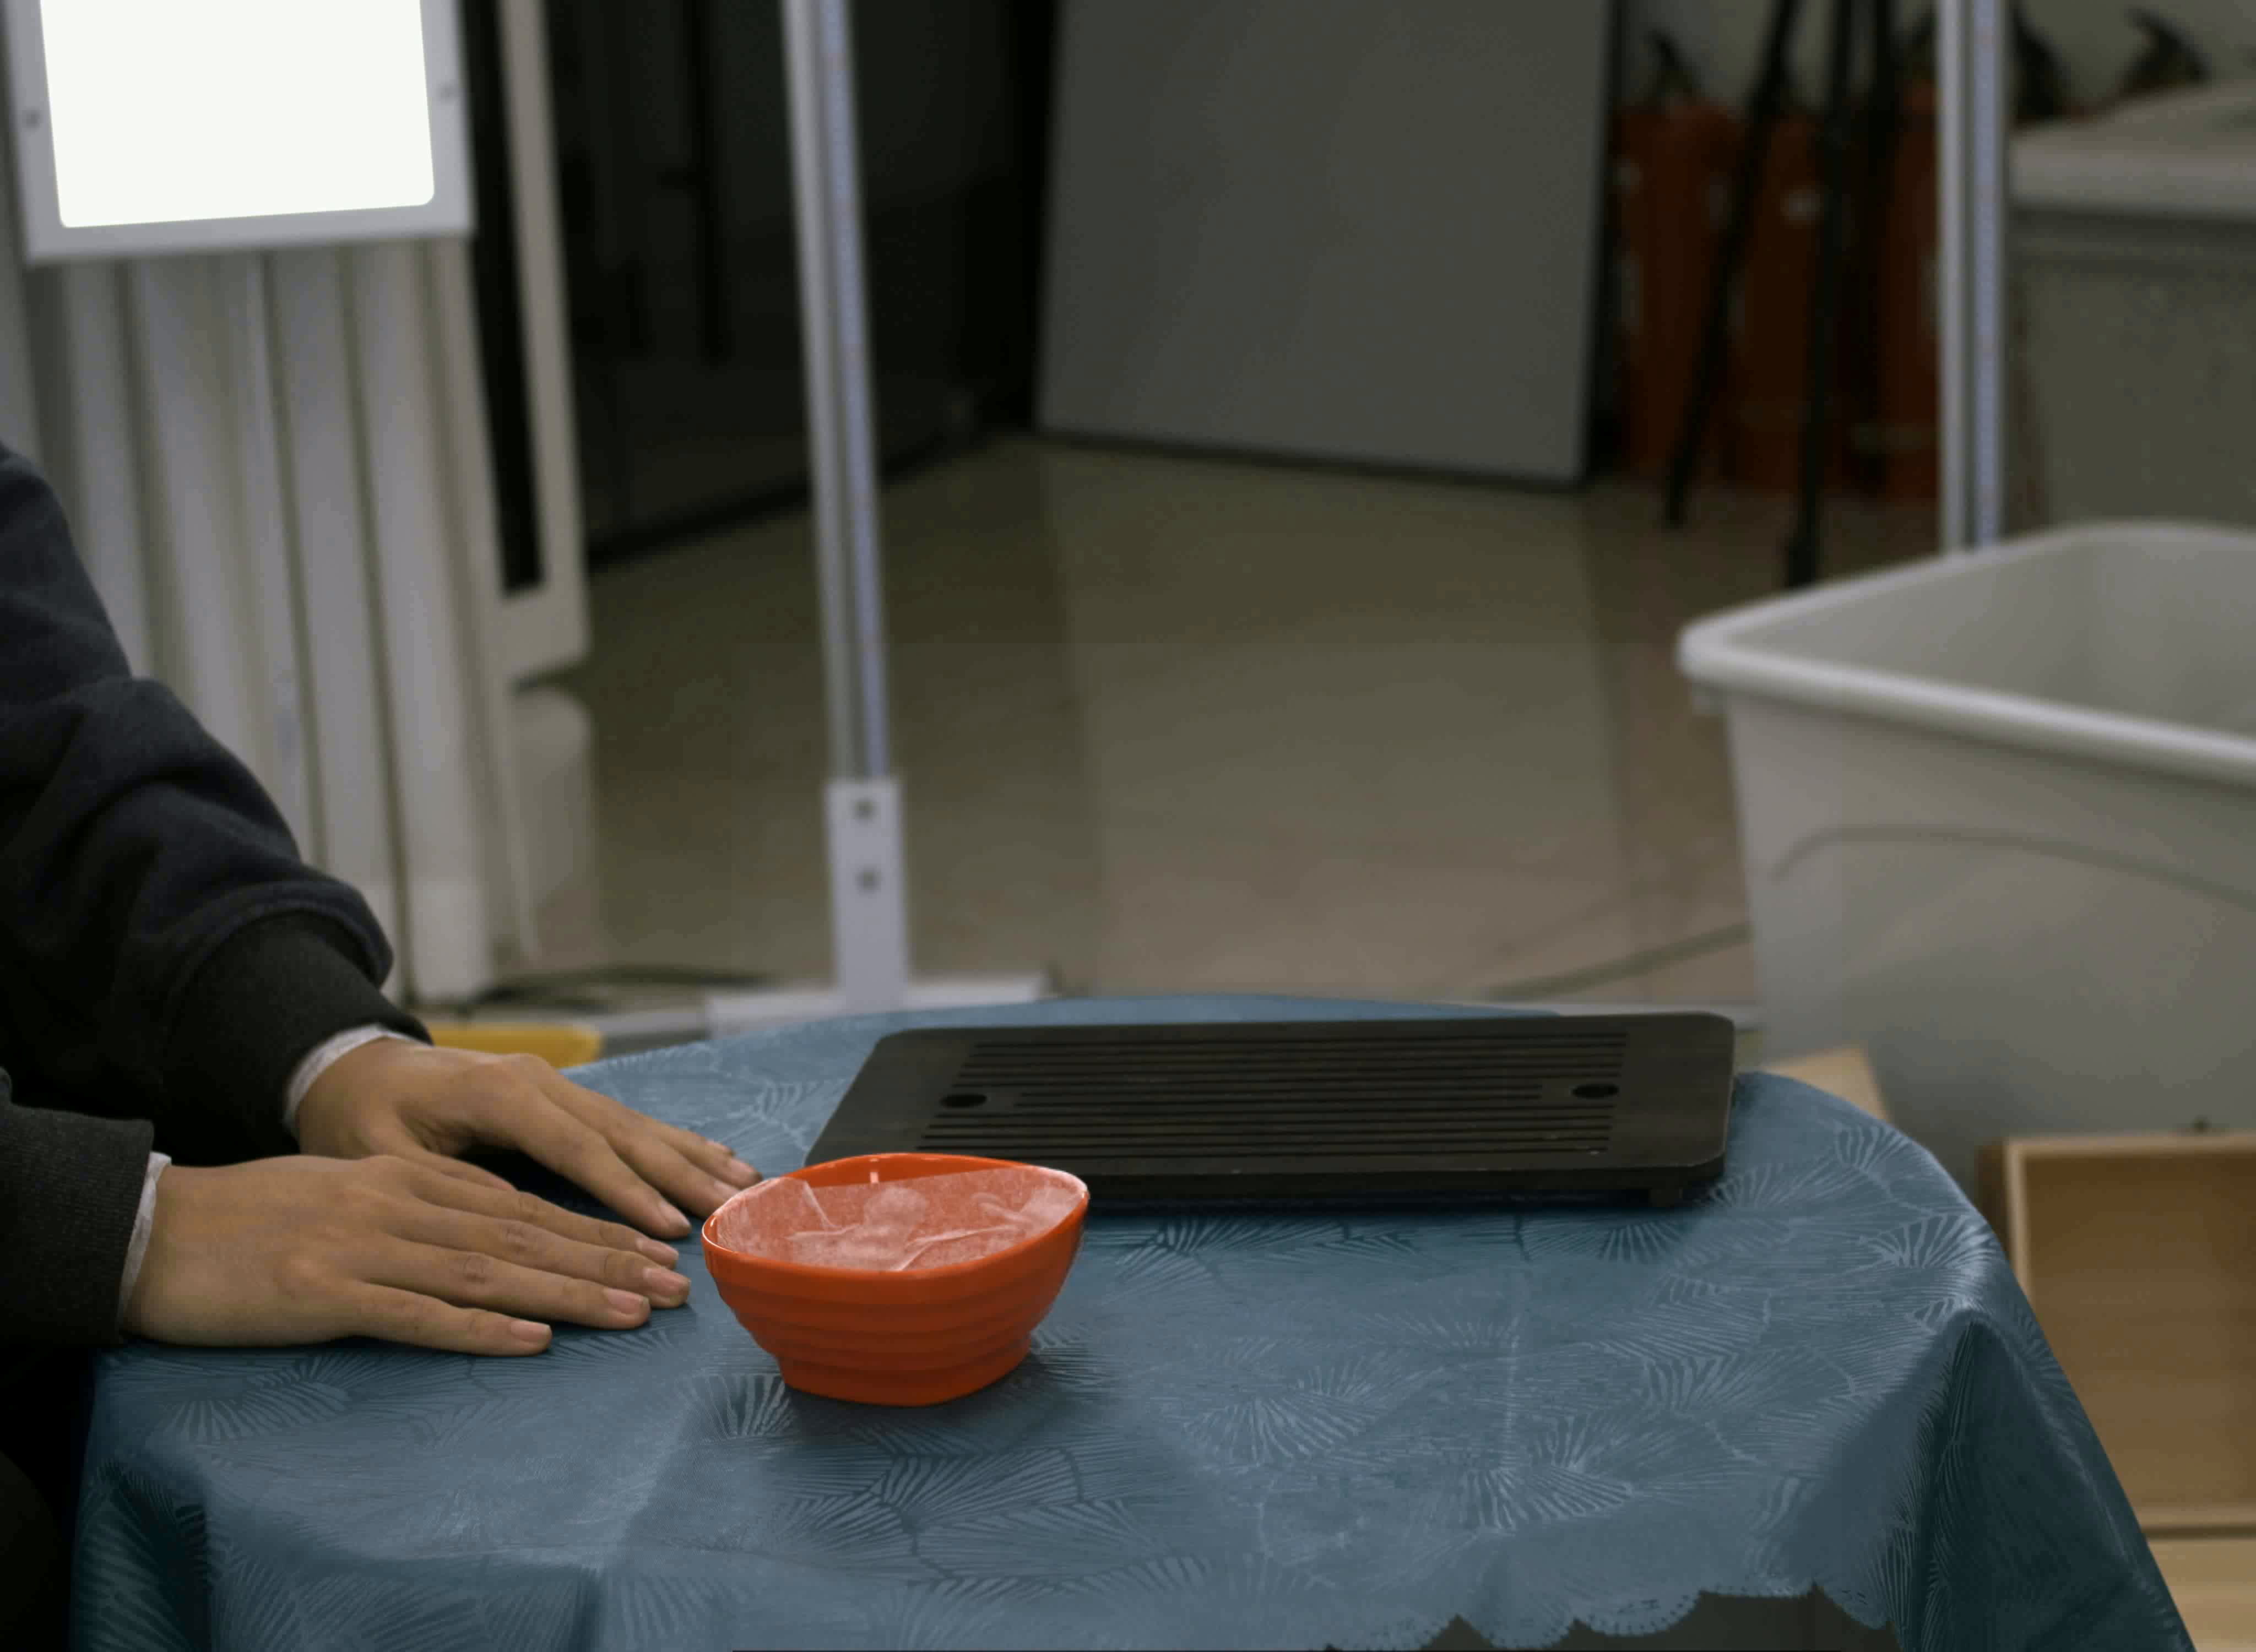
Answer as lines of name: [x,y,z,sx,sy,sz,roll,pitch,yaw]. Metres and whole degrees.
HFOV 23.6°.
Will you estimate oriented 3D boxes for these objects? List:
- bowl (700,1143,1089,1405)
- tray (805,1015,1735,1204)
bowl: [-0.068,0.136,1.612,0.117,0.052,0.119,-3,15,0]
tray: [0.051,0.098,1.811,0.303,0.019,0.169,-2,14,10]
